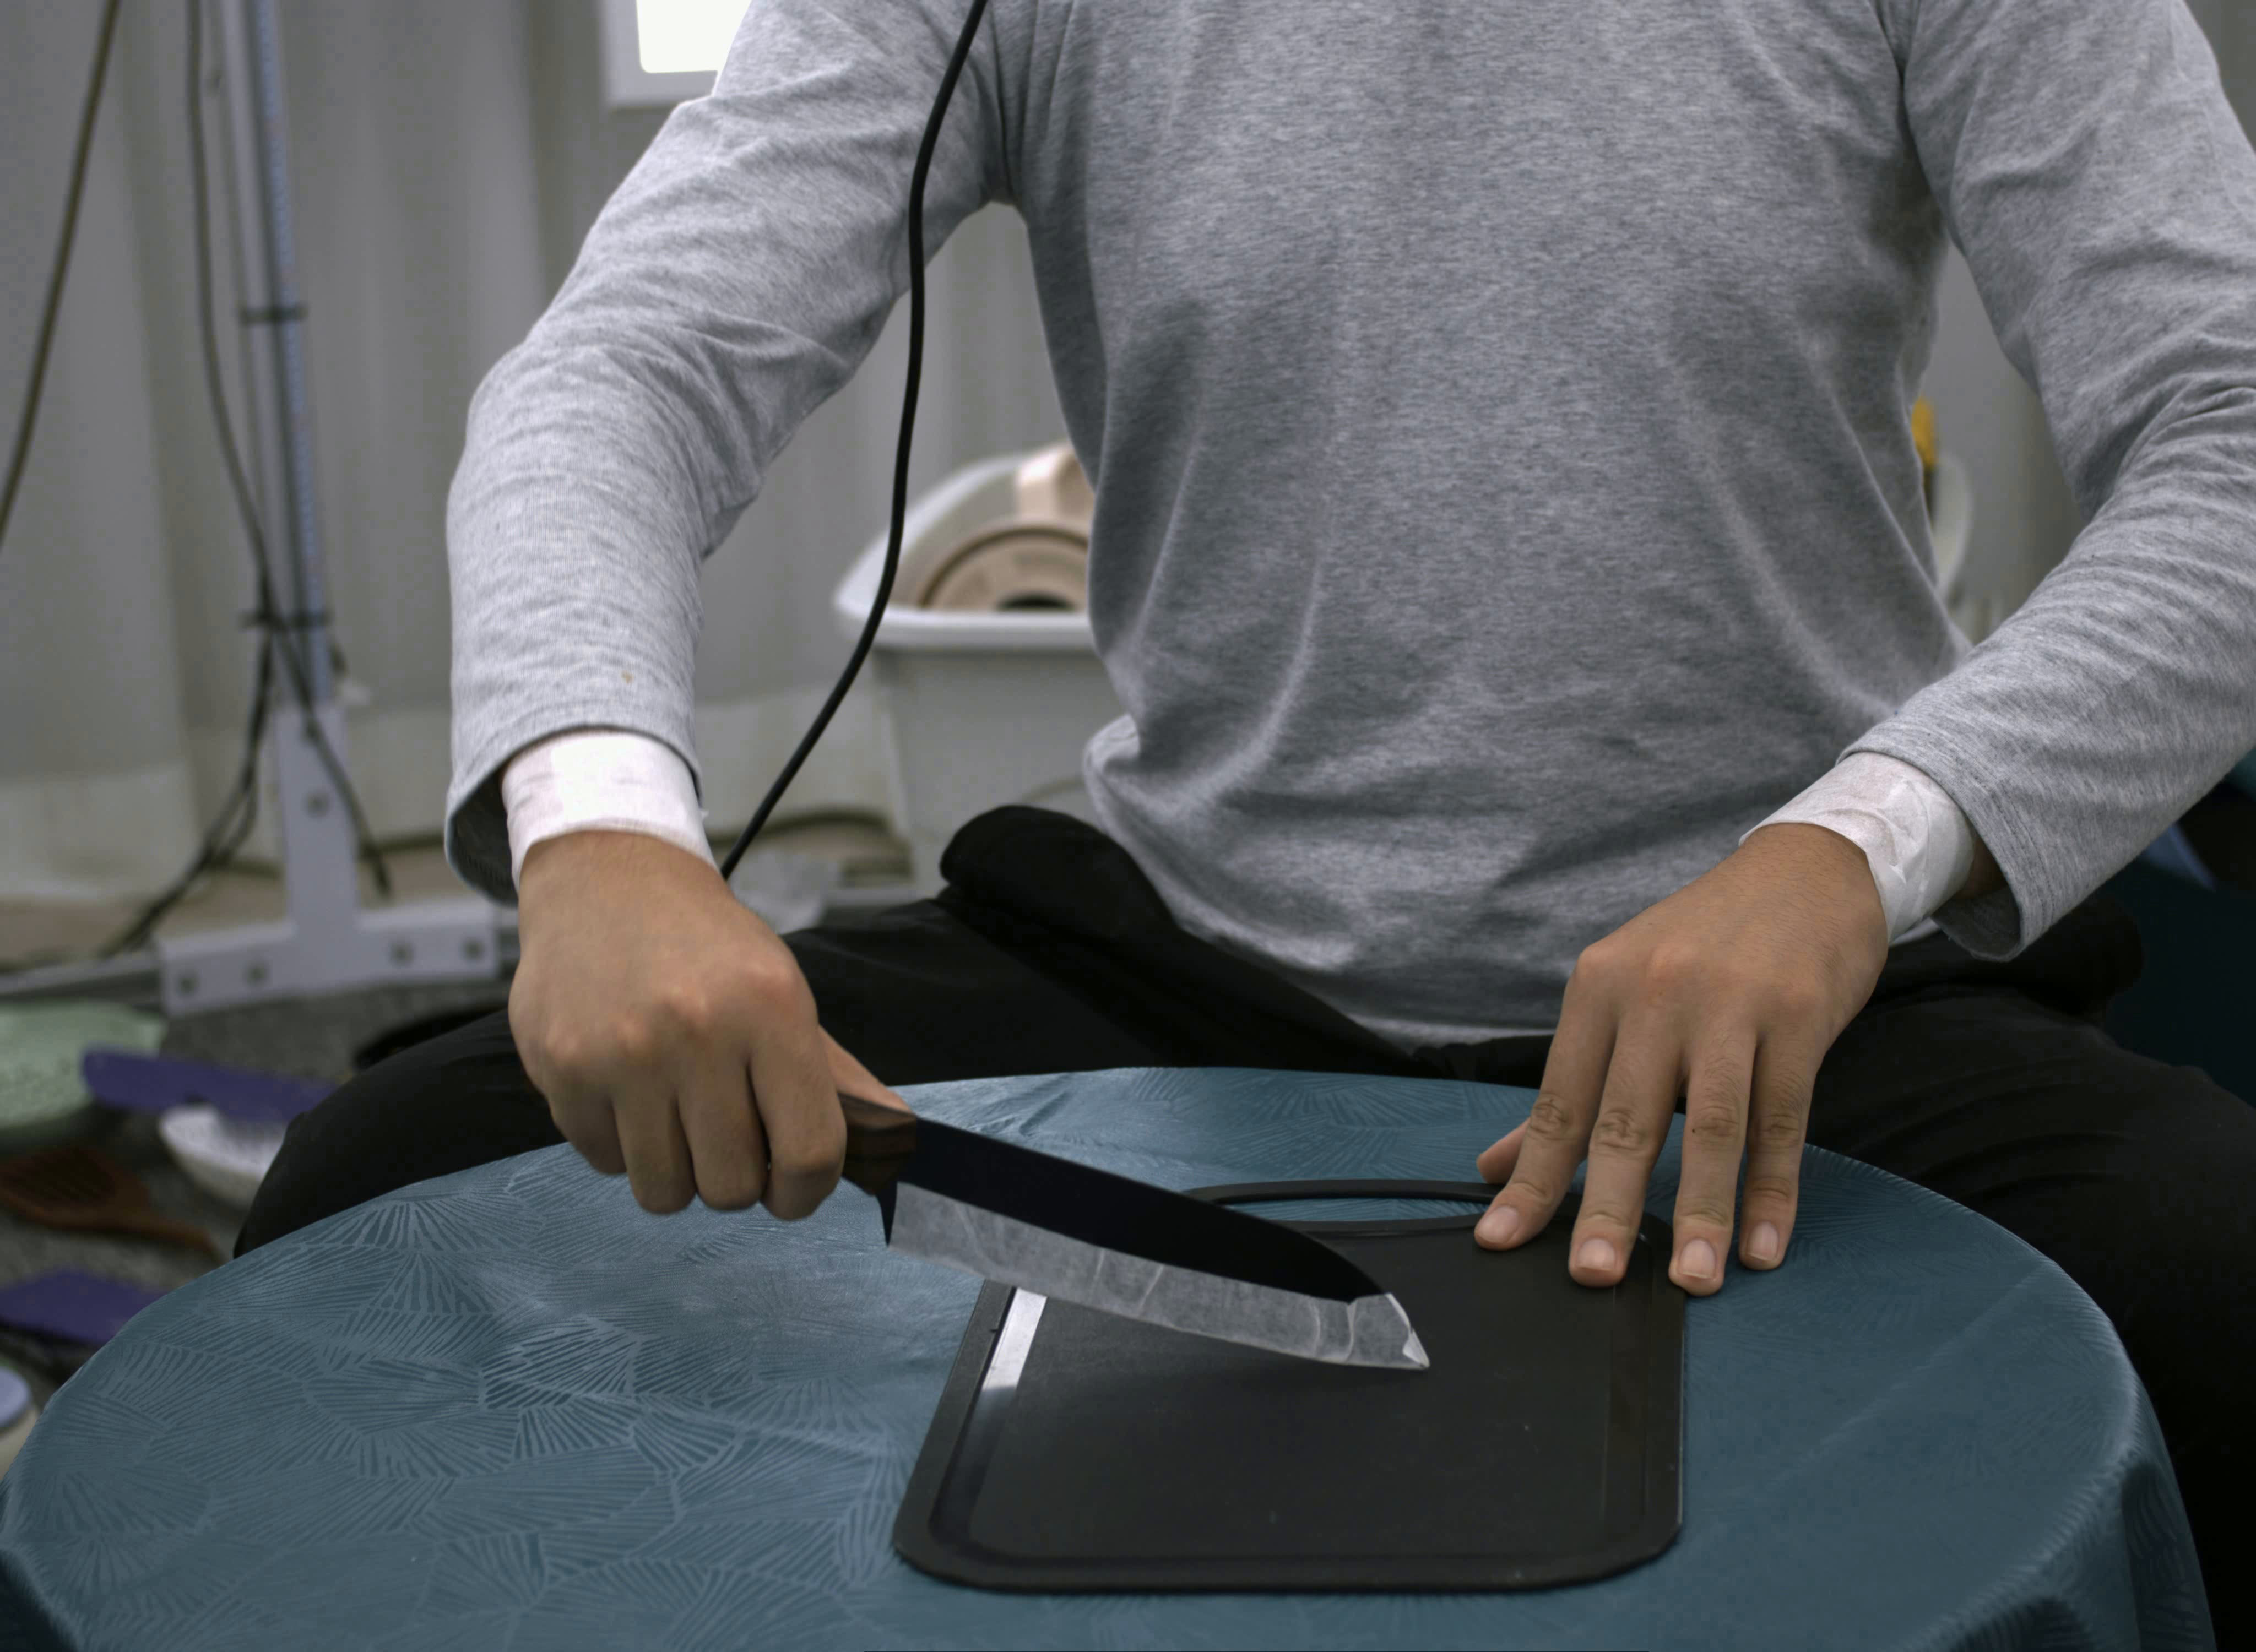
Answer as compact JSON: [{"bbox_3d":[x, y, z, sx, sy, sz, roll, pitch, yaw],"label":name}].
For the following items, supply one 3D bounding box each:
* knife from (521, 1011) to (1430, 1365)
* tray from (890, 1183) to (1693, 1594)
[{"bbox_3d":[-0.046,0.105,1.583,0.290,0.050,0.020,18,22,16],"label":"knife"},{"bbox_3d":[0.053,0.153,1.553,0.210,0.010,0.327,-1,15,7],"label":"tray"}]
